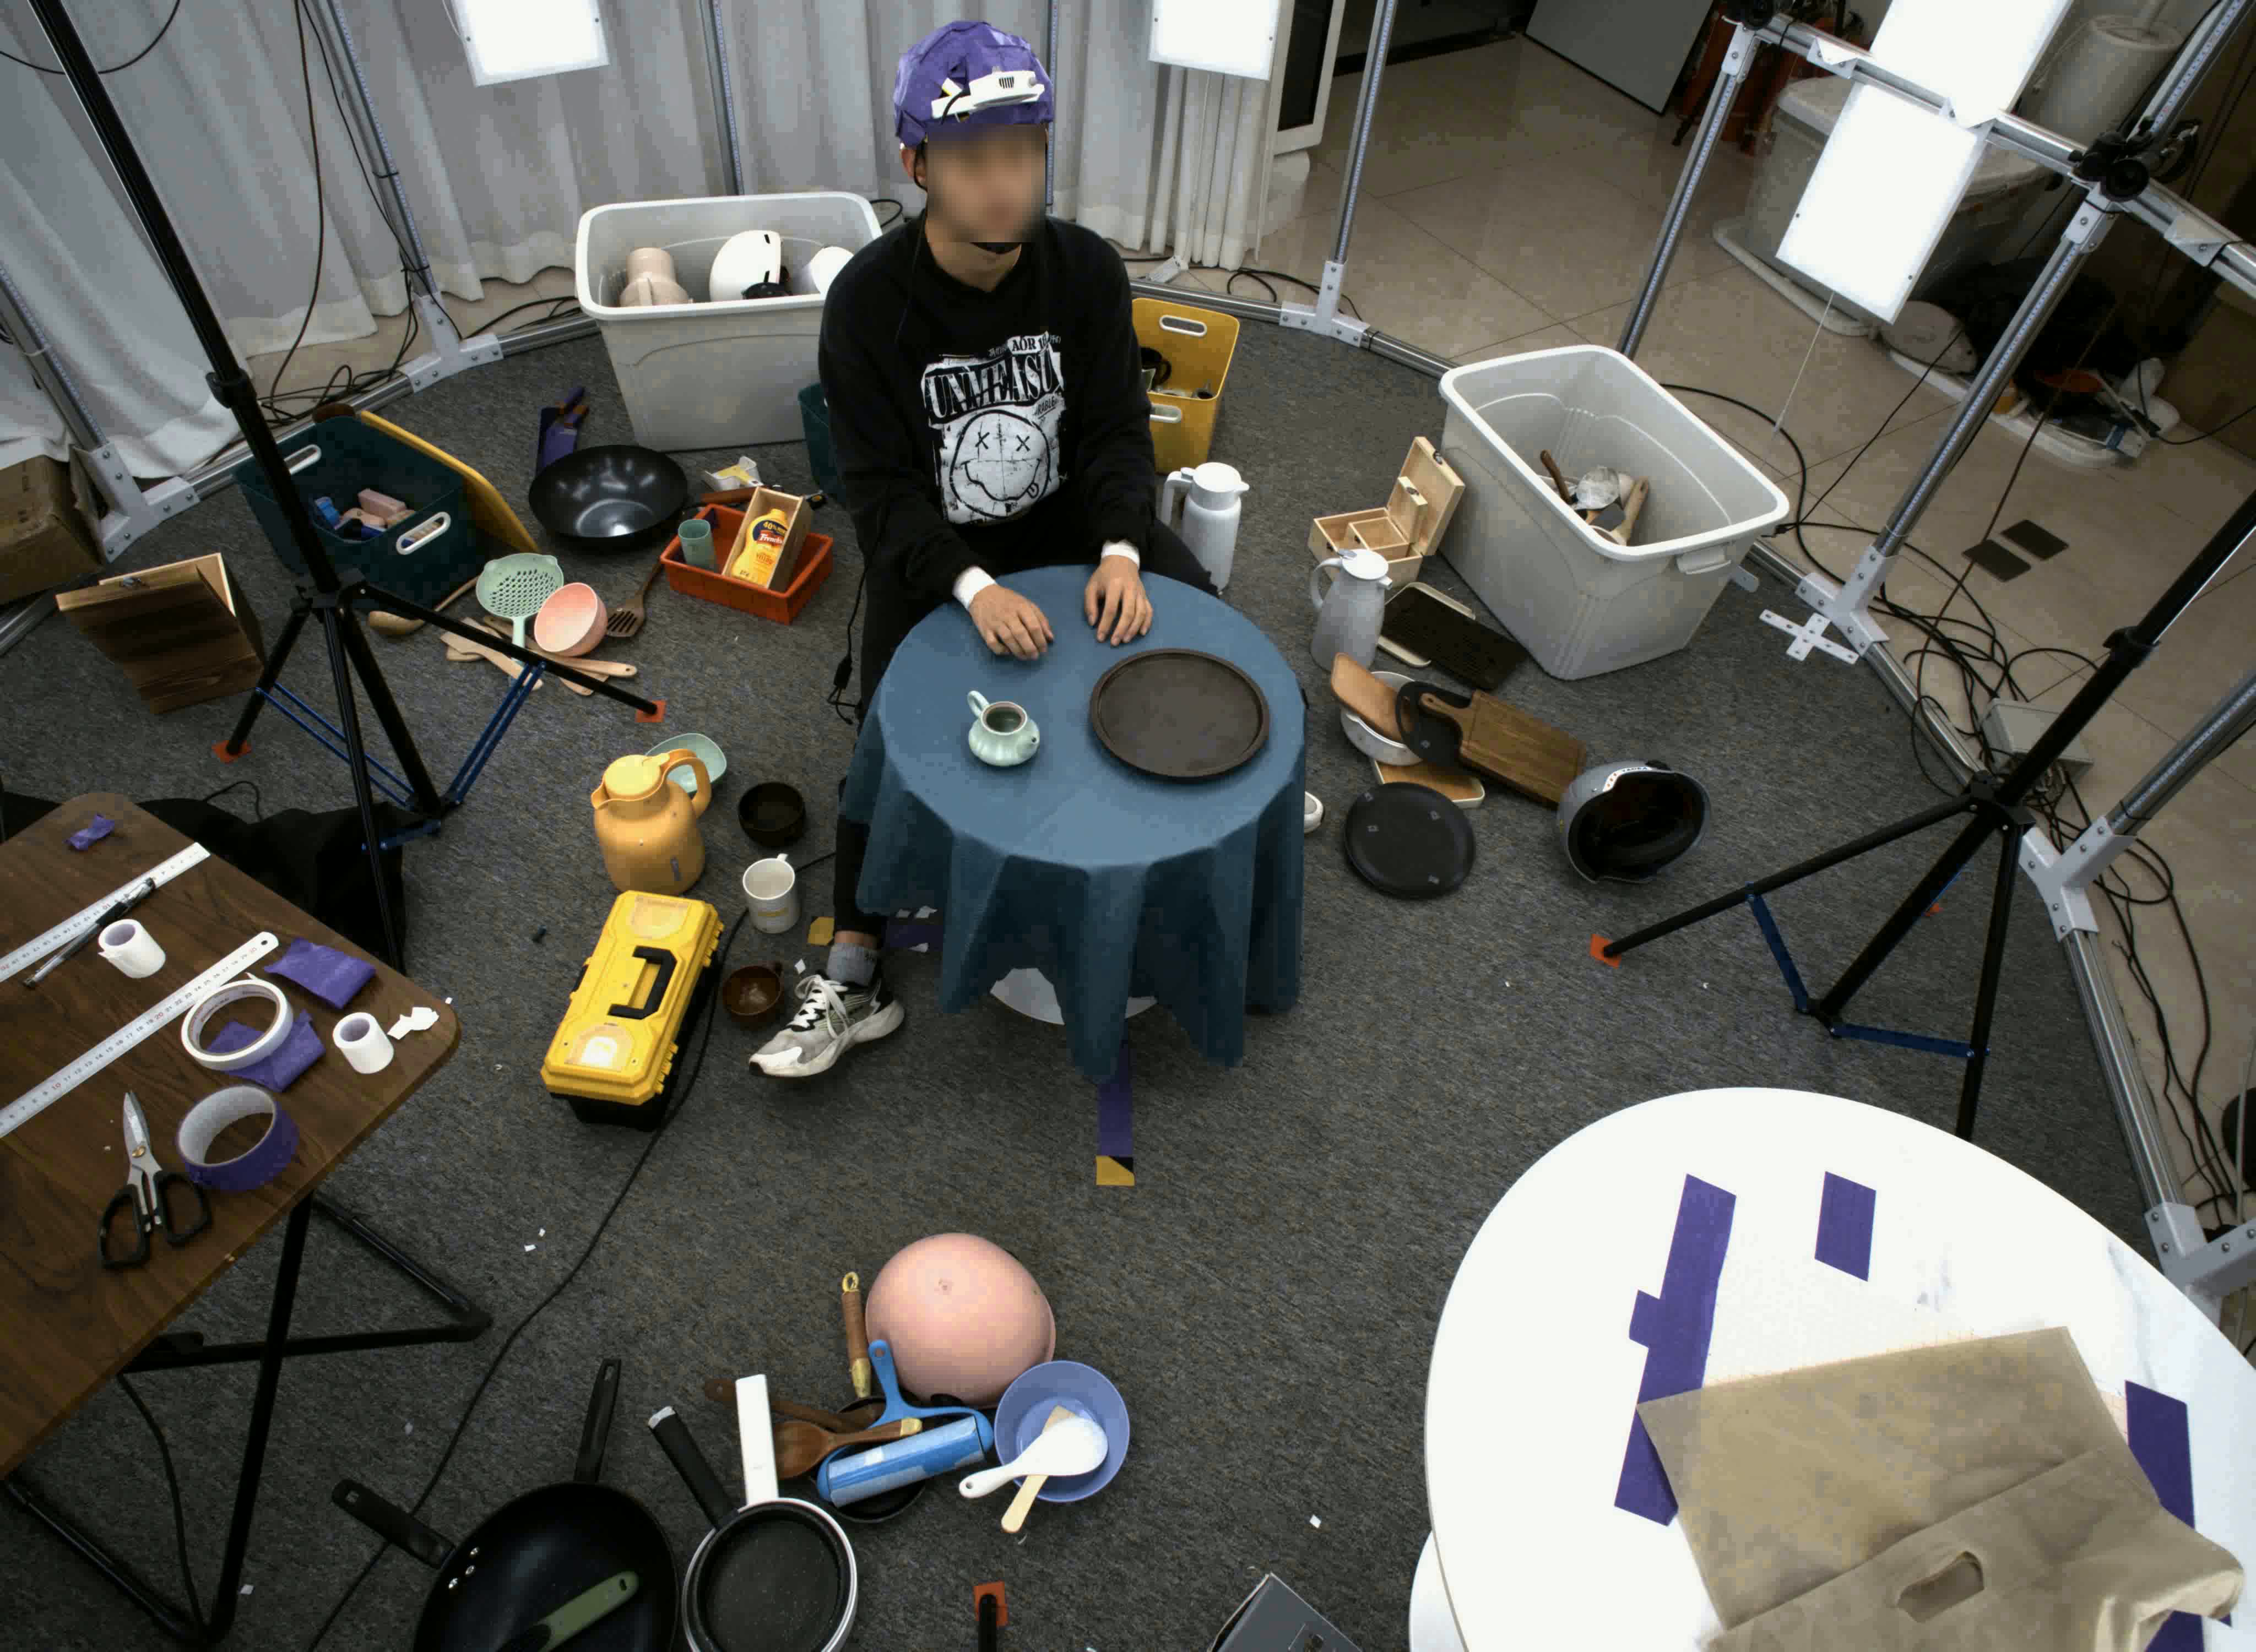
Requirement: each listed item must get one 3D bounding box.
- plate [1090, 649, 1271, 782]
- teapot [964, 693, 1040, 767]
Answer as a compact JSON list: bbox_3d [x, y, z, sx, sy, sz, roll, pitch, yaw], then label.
[{"bbox_3d":[0.072,-0.156,1.793,0.254,0.028,0.261,1,50,-2],"label":"plate"},{"bbox_3d":[-0.170,-0.130,1.733,0.139,0.060,0.097,36,58,25],"label":"teapot"}]
